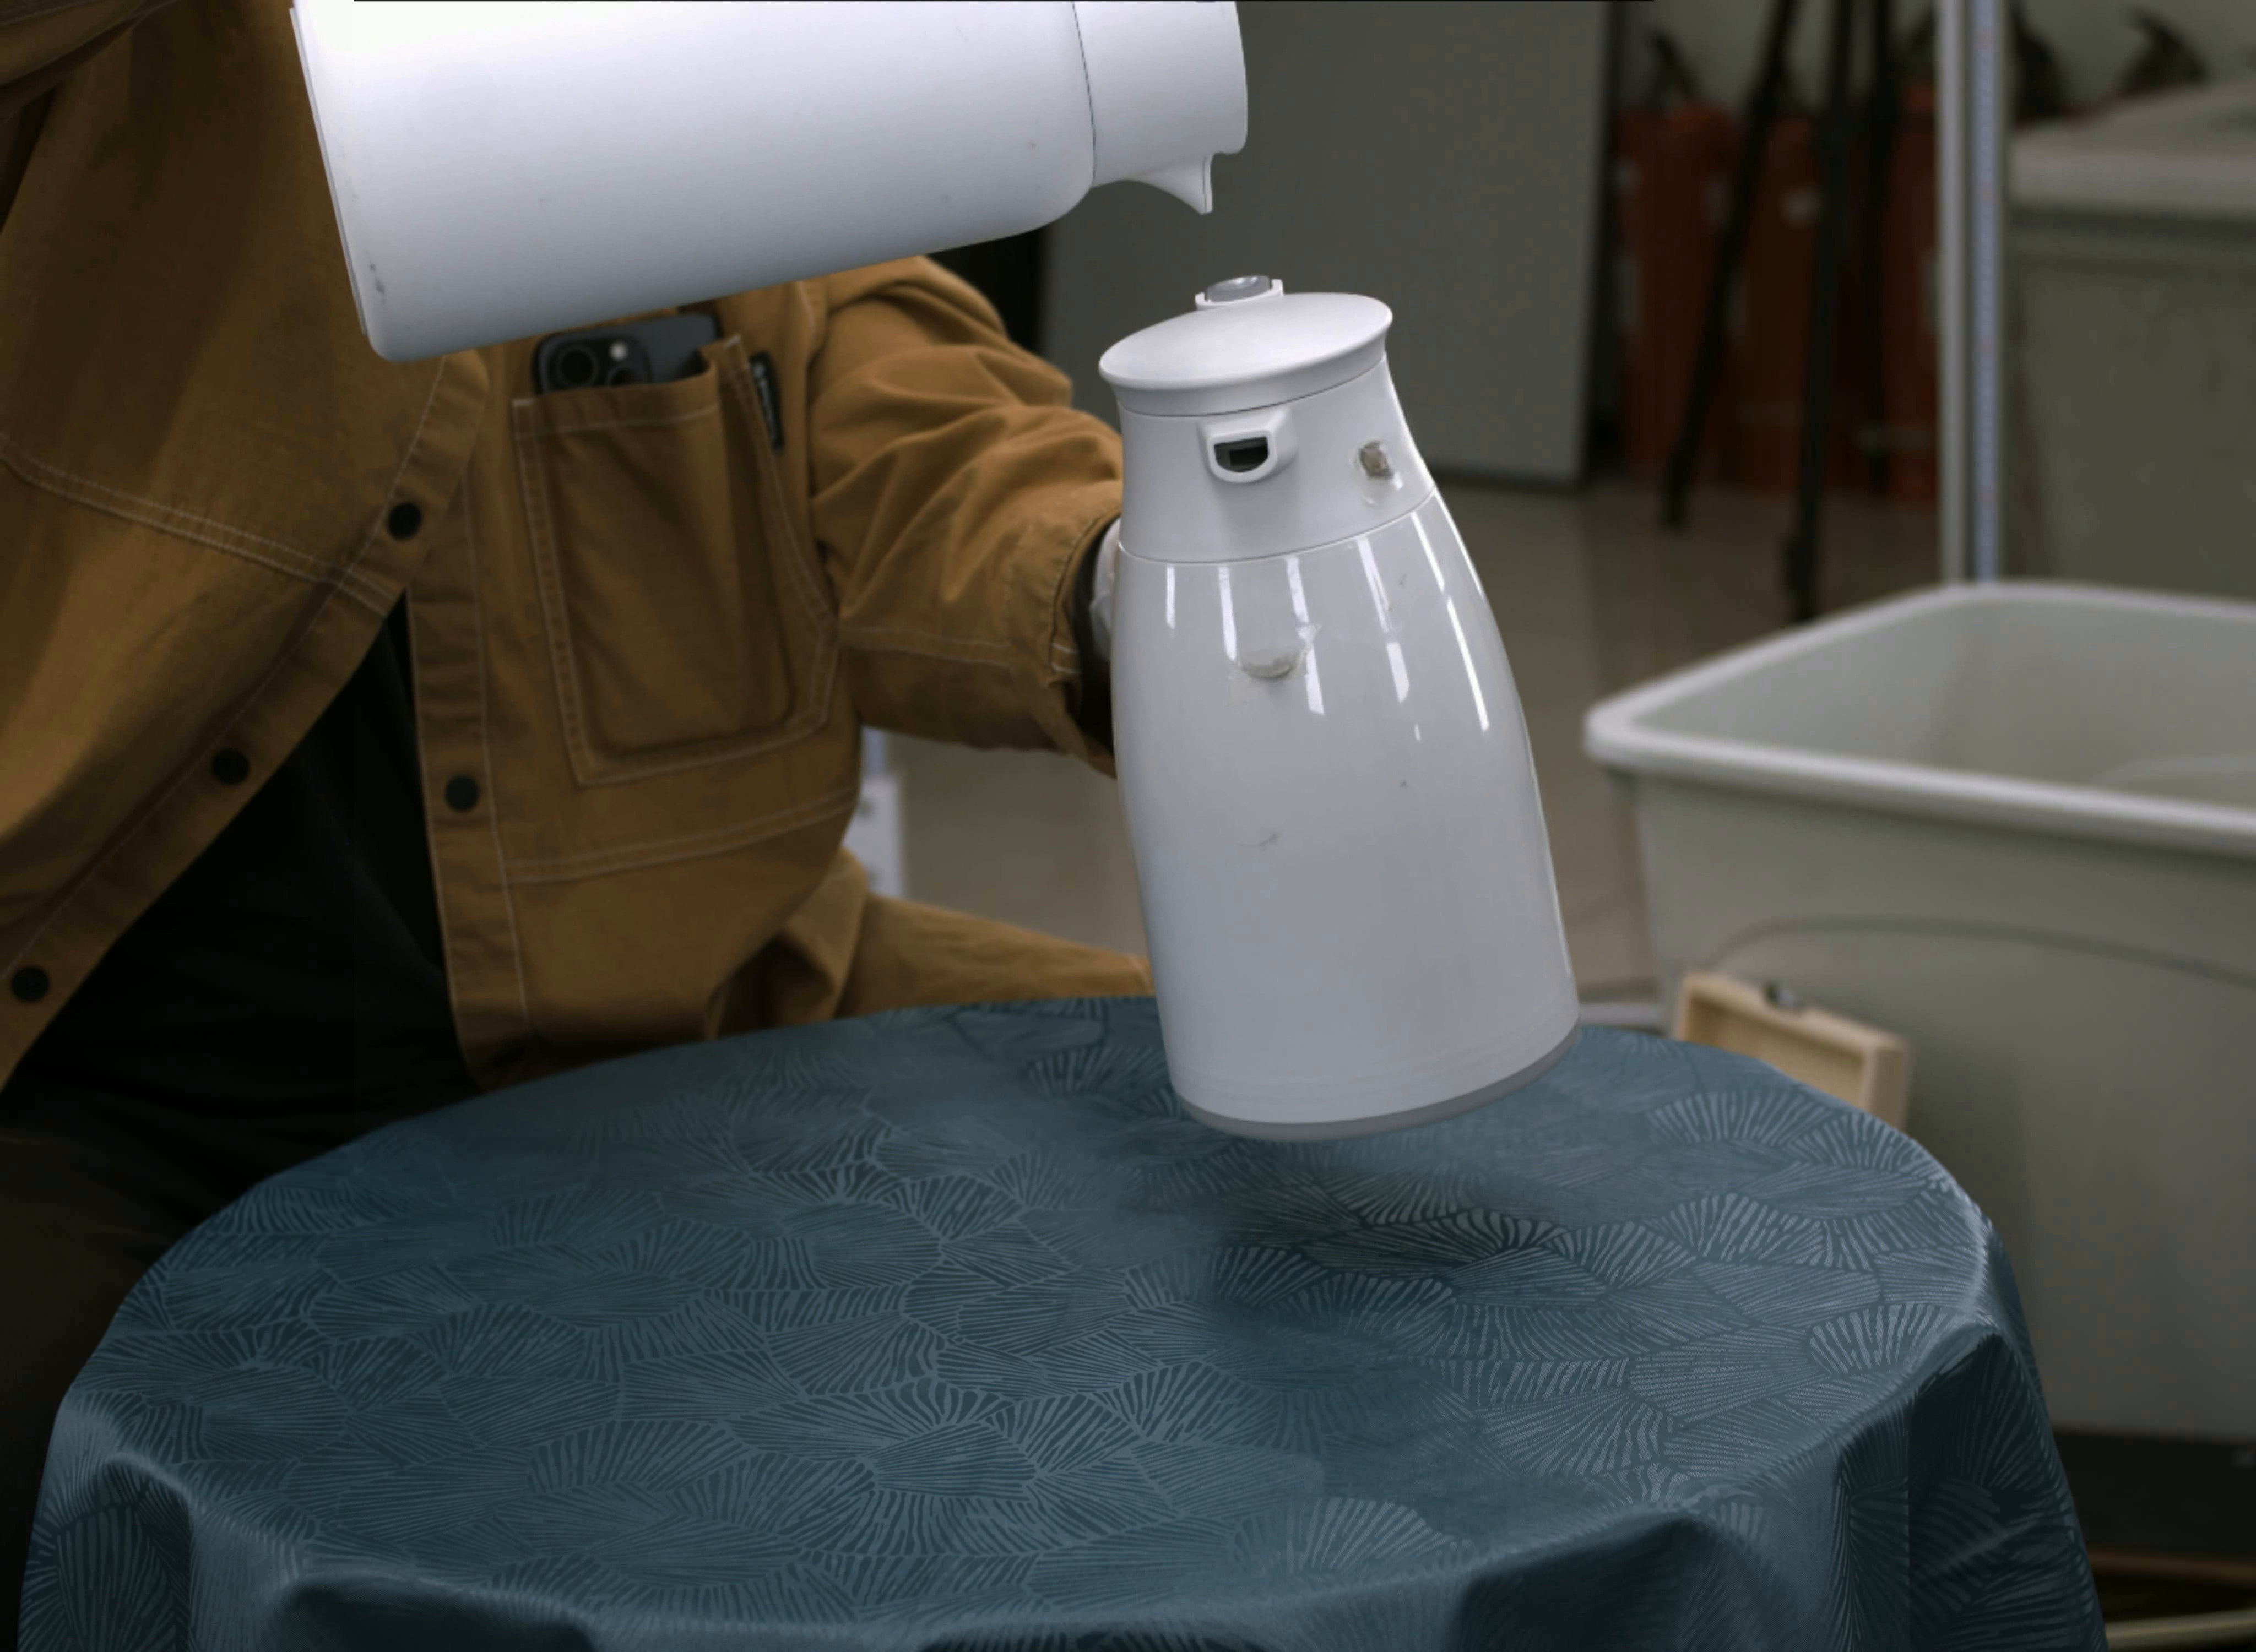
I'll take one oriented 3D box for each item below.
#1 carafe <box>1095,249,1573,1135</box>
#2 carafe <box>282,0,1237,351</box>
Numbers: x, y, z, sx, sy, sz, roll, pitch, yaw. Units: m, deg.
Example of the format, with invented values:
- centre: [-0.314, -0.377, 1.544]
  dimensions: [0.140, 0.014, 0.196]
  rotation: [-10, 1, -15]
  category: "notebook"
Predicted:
- centre: [0.055, -0.050, 1.684]
  dimensions: [0.131, 0.251, 0.167]
  rotation: [-9, 17, 8]
  category: "carafe"
- centre: [-0.108, -0.238, 1.567]
  dimensions: [0.265, 0.174, 0.125]
  rotation: [-13, 28, -3]
  category: "carafe"
